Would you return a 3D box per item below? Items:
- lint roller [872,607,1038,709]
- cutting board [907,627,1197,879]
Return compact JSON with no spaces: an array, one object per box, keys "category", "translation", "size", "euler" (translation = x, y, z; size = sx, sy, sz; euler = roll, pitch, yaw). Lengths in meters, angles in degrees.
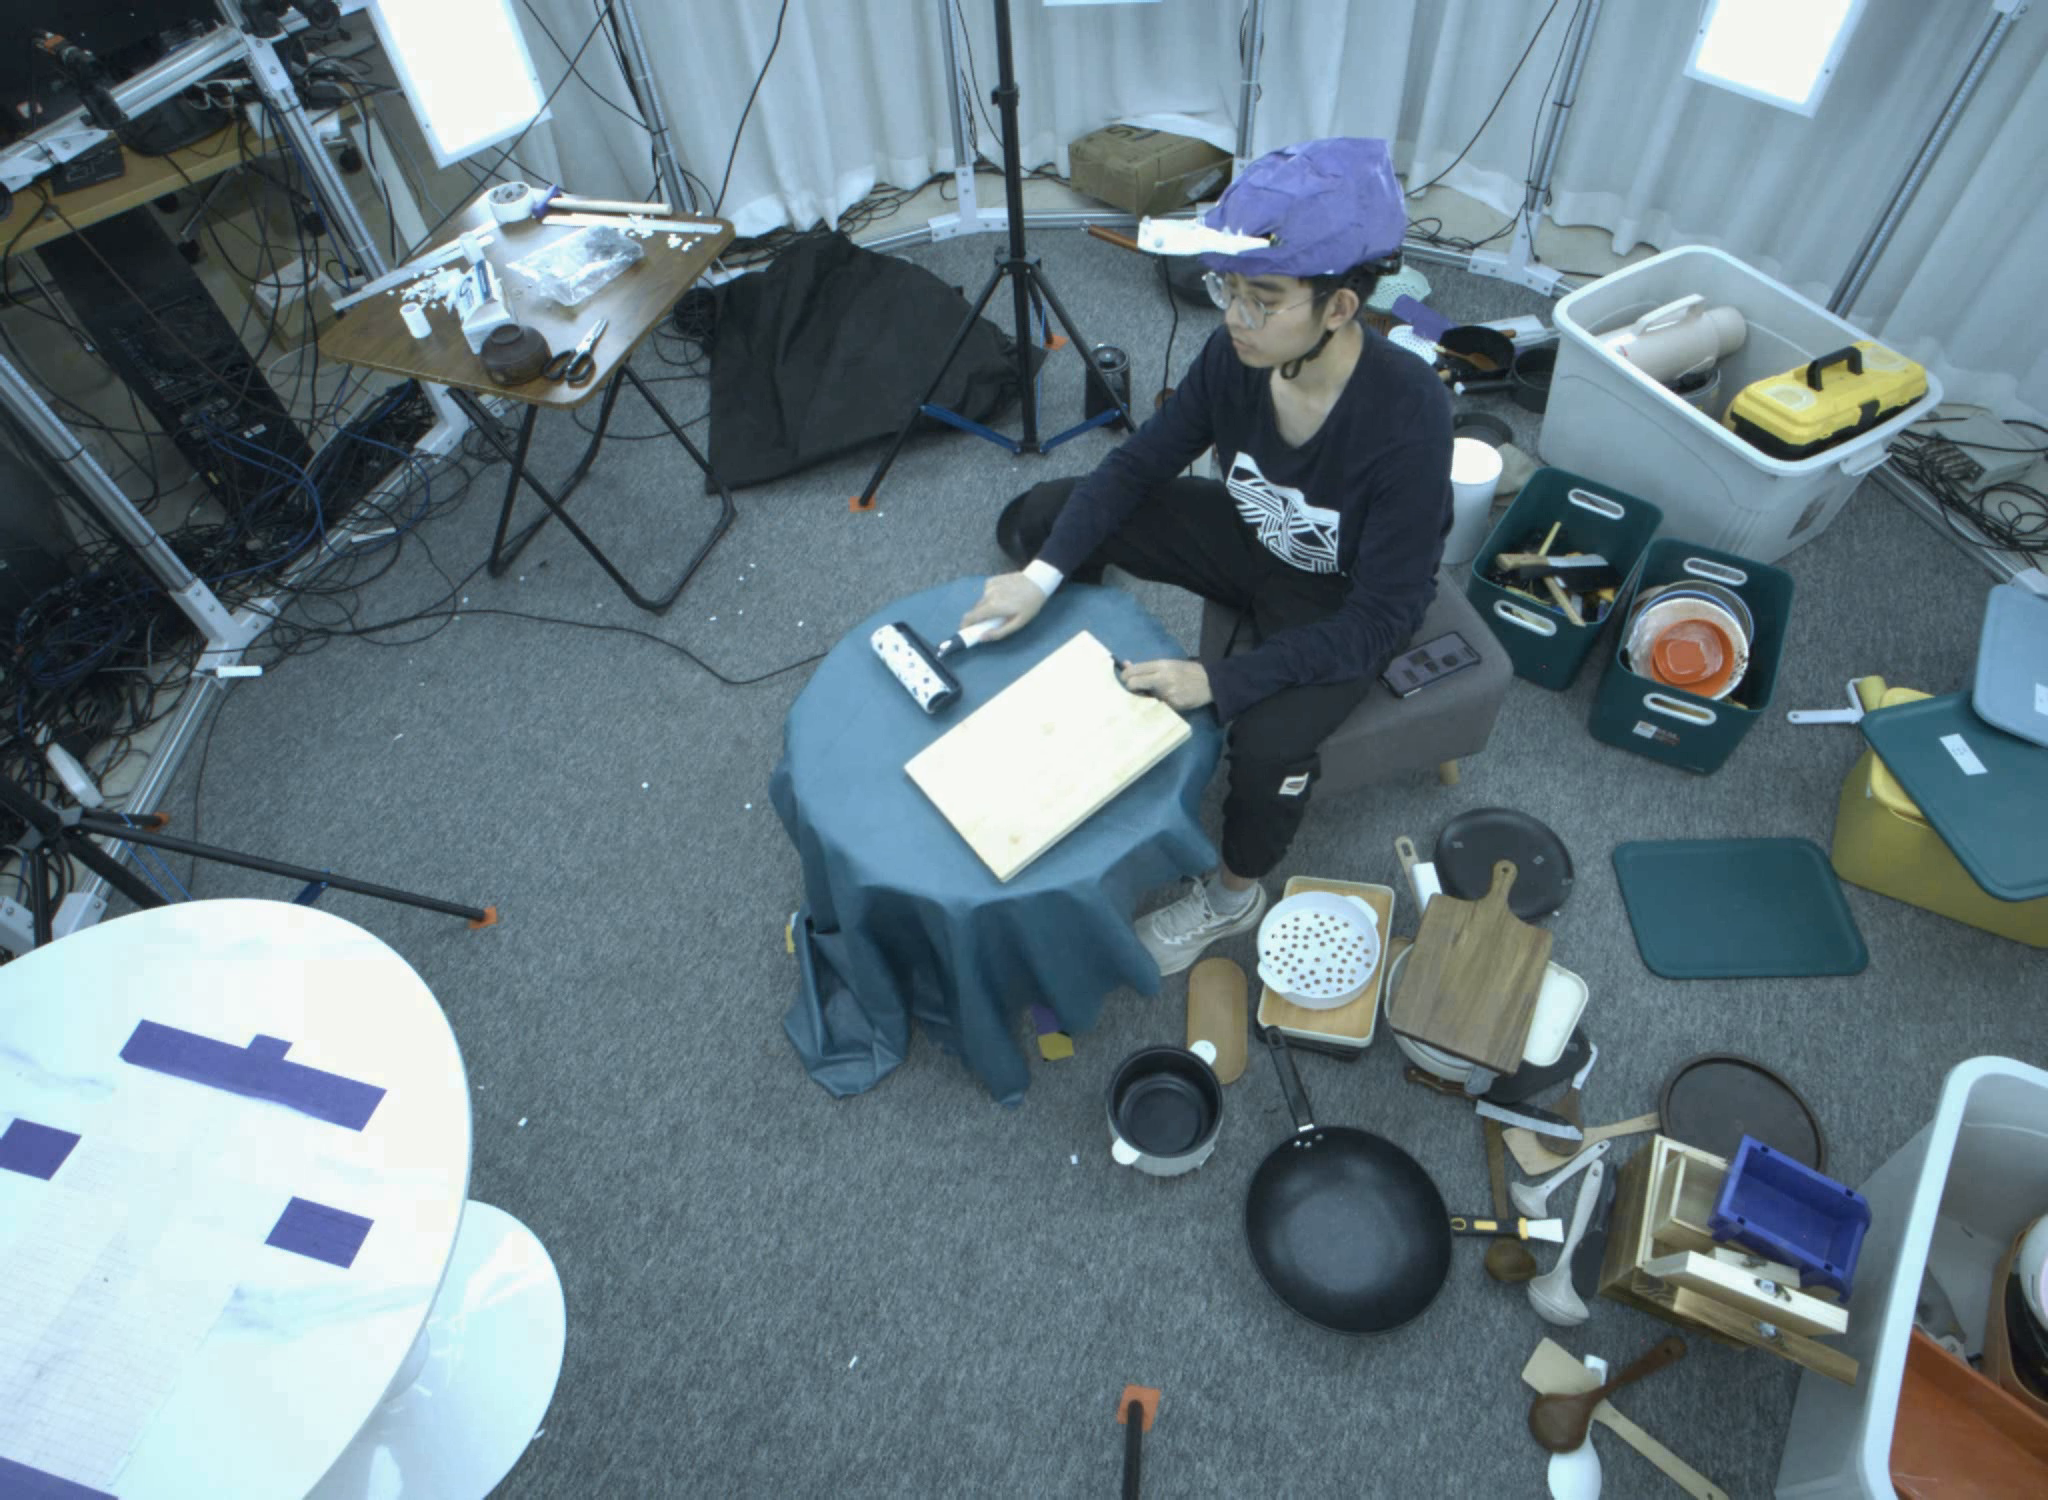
[{"category":"lint roller","translation":[-0.090,-0.174,1.881],"size":[0.249,0.051,0.173],"euler":[-26,60,-17]},{"category":"cutting board","translation":[0.035,-0.004,1.751],"size":[0.350,0.024,0.246],"euler":[-38,62,-12]}]
